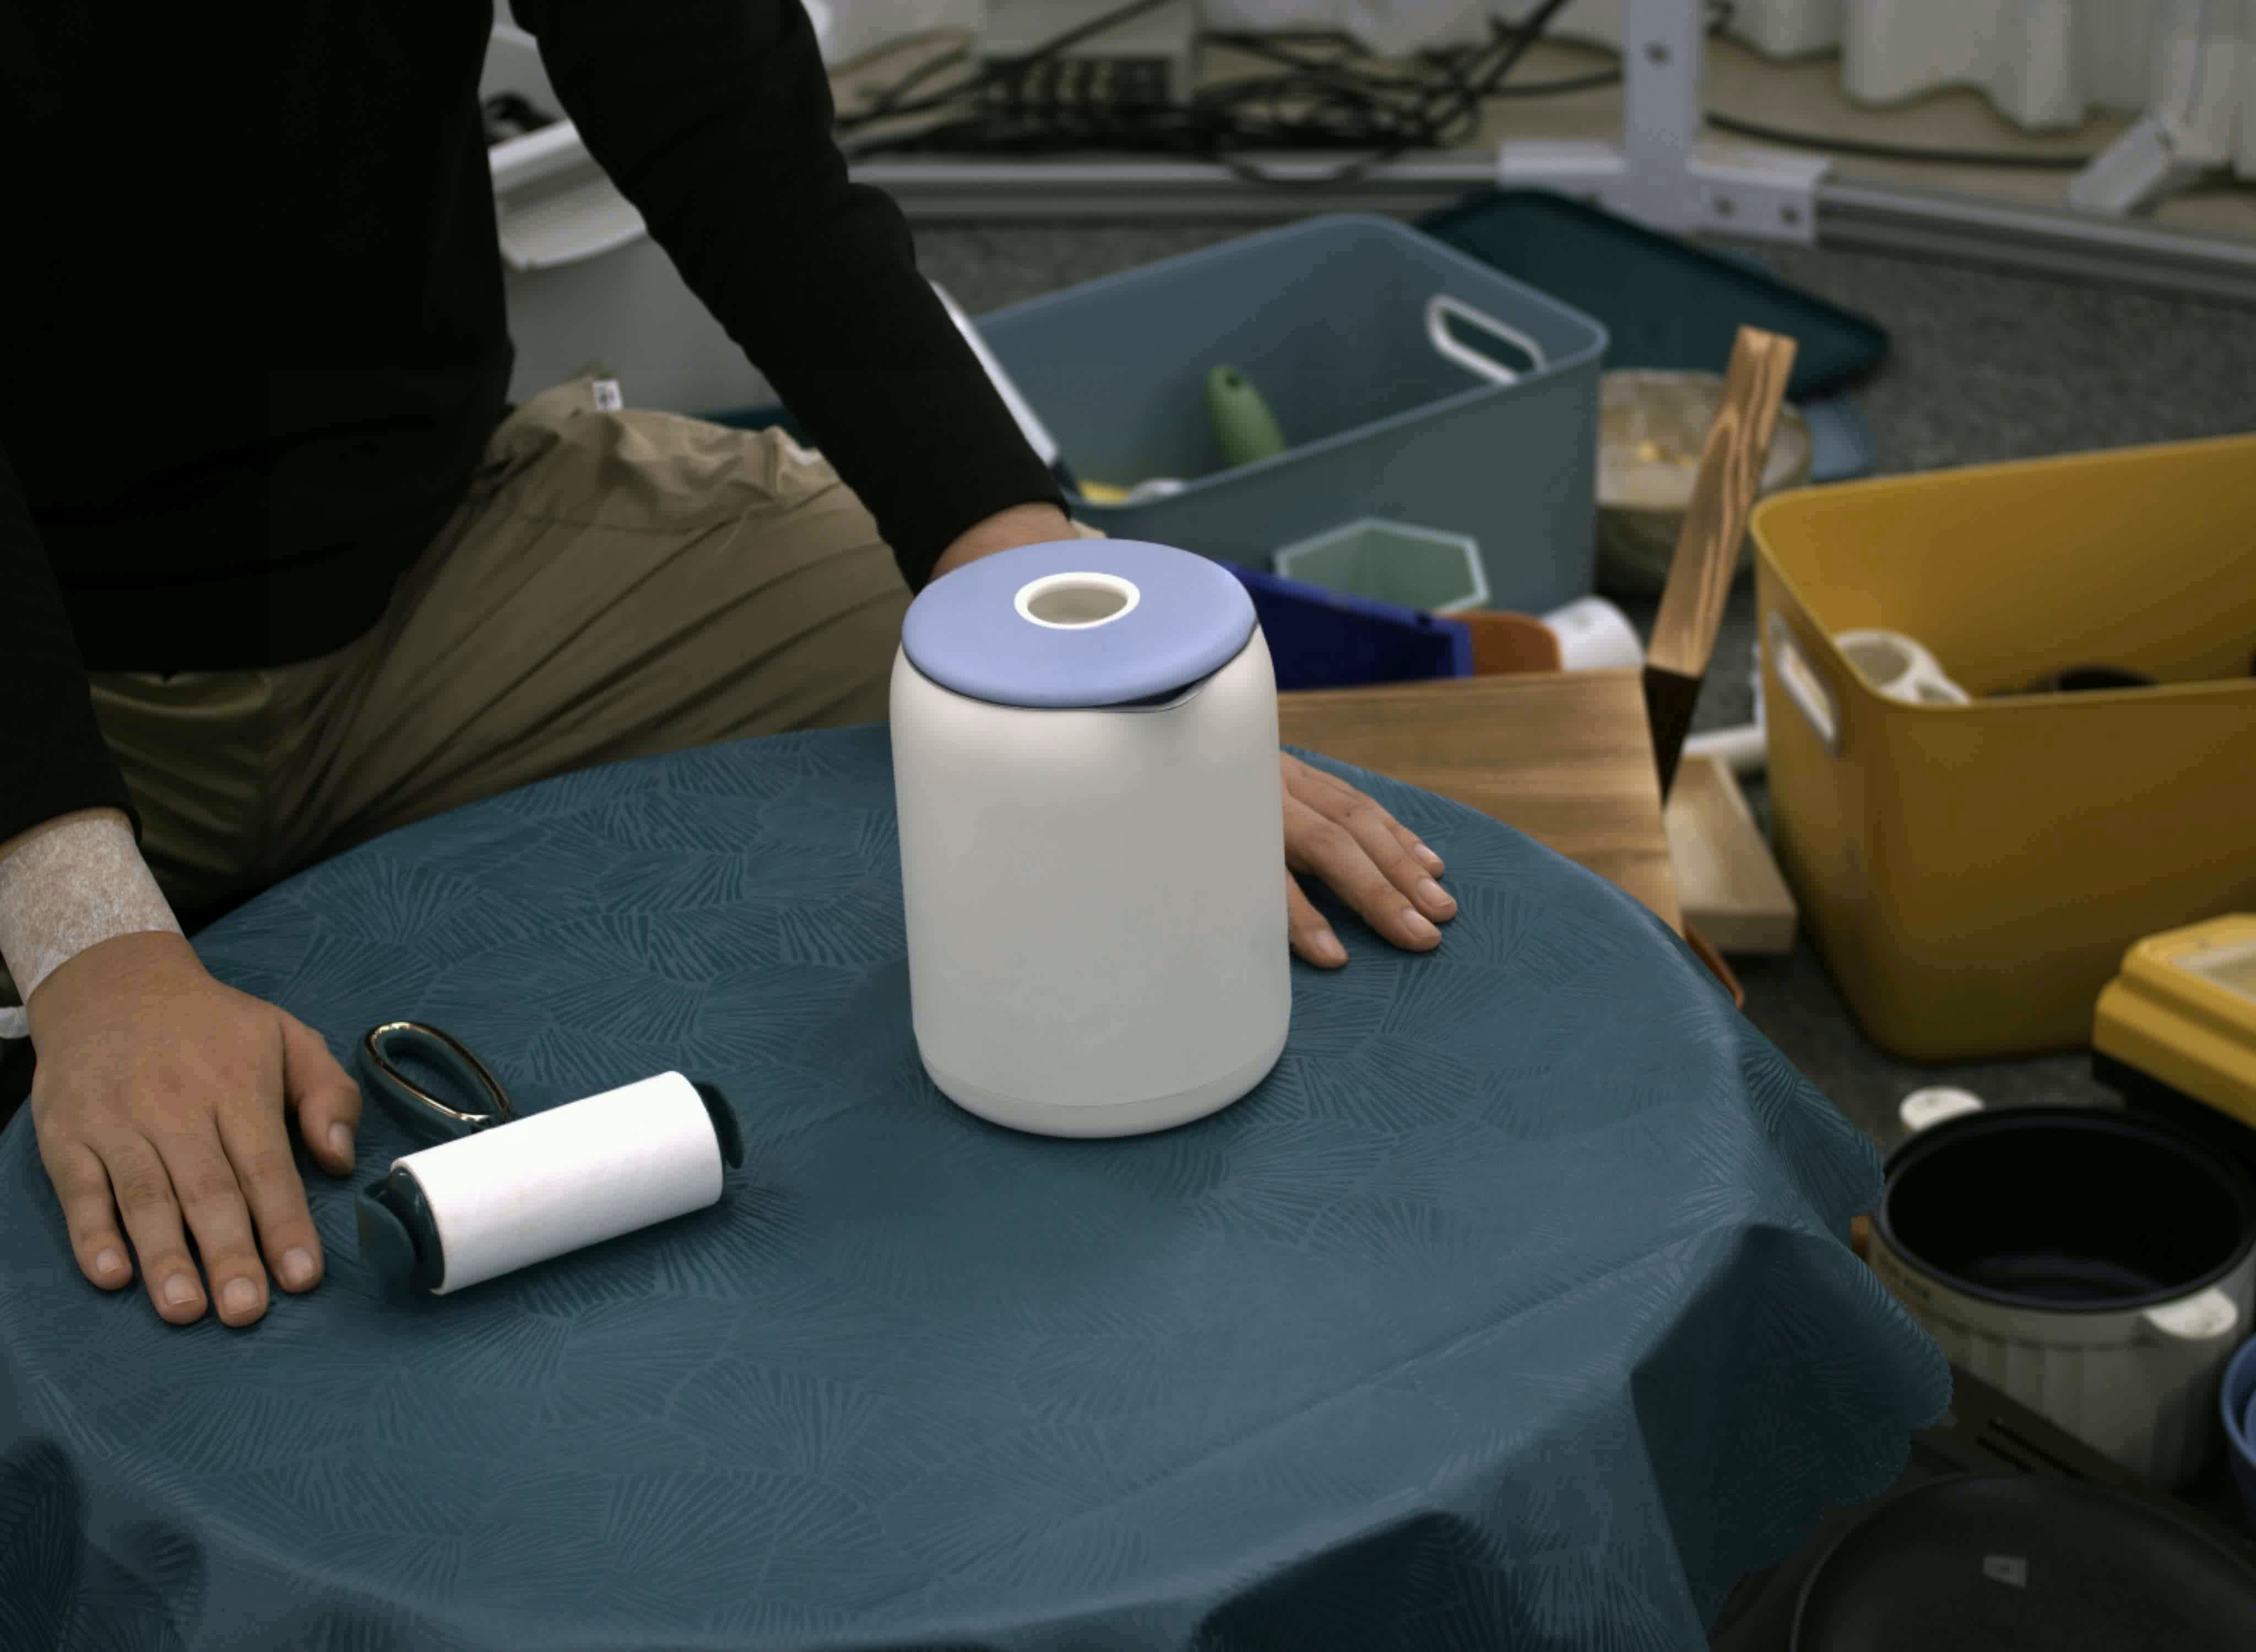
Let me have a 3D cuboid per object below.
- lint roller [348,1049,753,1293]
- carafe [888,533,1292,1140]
[{"bbox_3d":[-0.221,0.094,1.892,0.135,0.048,0.180,-17,28,-25],"label":"lint roller"},{"bbox_3d":[-0.024,-0.006,1.926,0.133,0.181,0.192,-16,27,-24],"label":"carafe"}]
